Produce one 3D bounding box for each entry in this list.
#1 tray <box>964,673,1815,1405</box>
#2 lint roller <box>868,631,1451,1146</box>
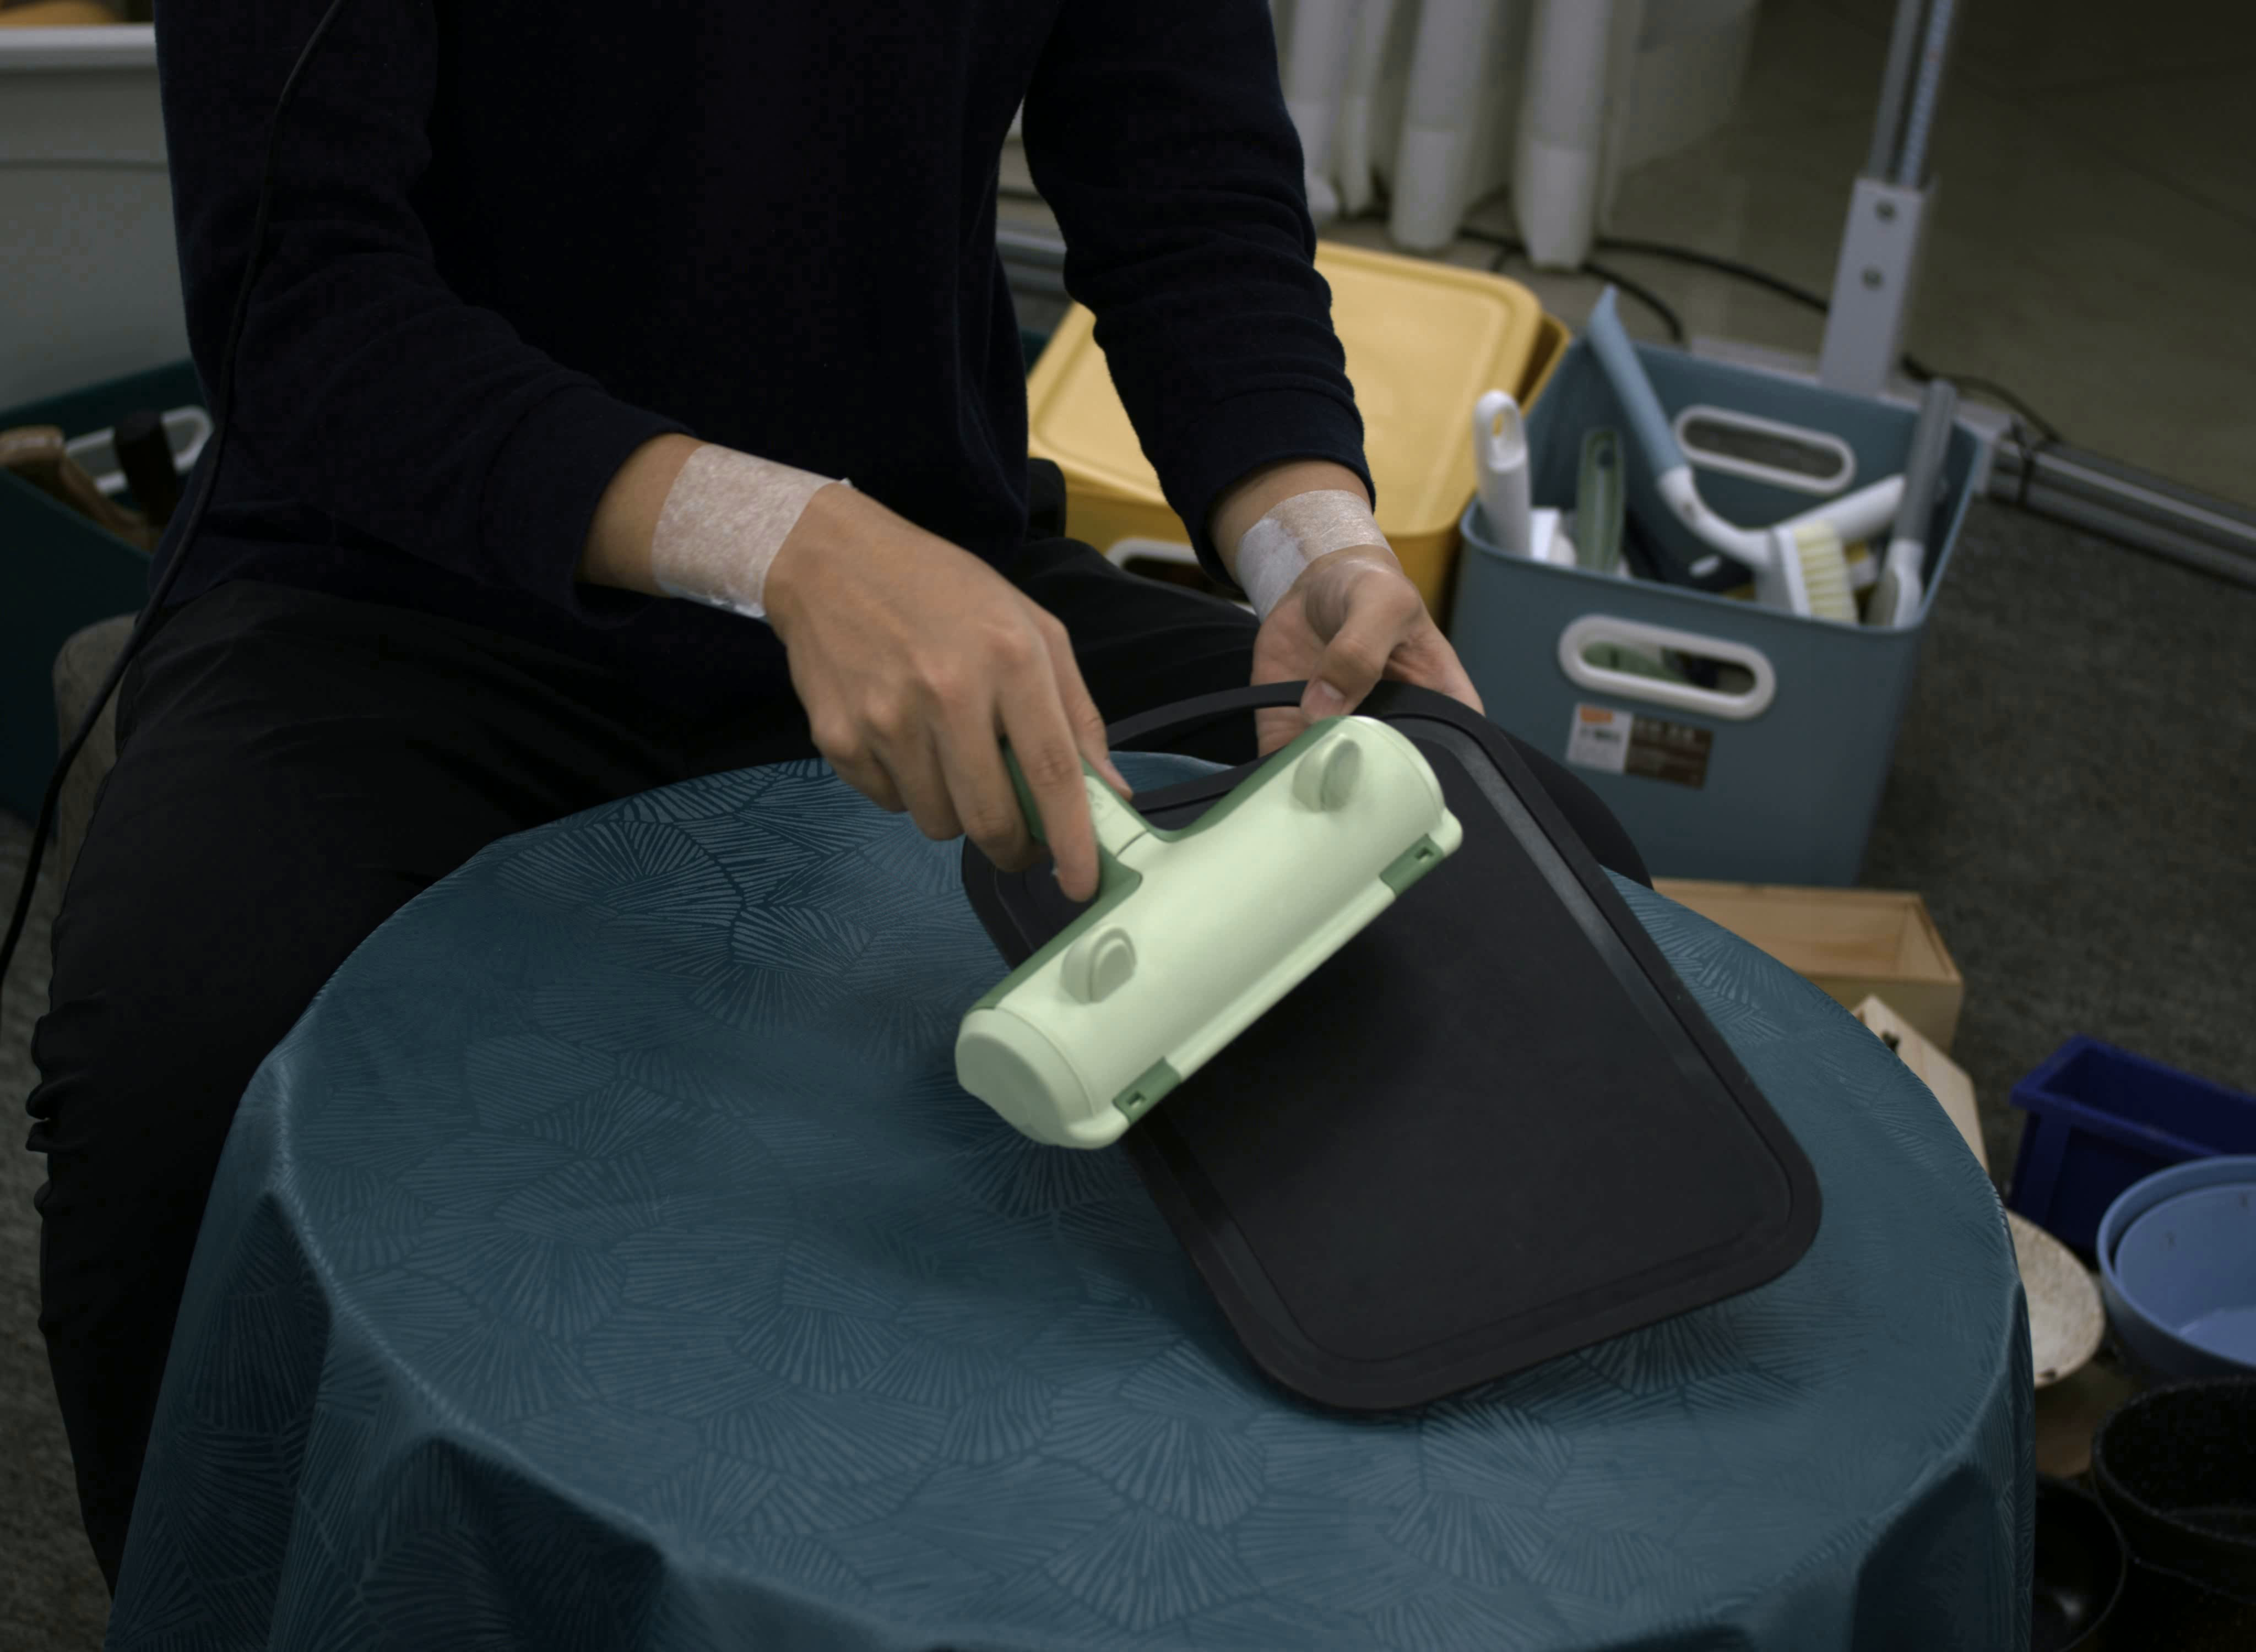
[{"bbox_3d":[0.080,0.060,1.811,0.210,0.010,0.328,-15,48,-18],"label":"tray"},{"bbox_3d":[-0.013,-0.012,1.769,0.184,0.082,0.198,46,58,8],"label":"lint roller"}]
